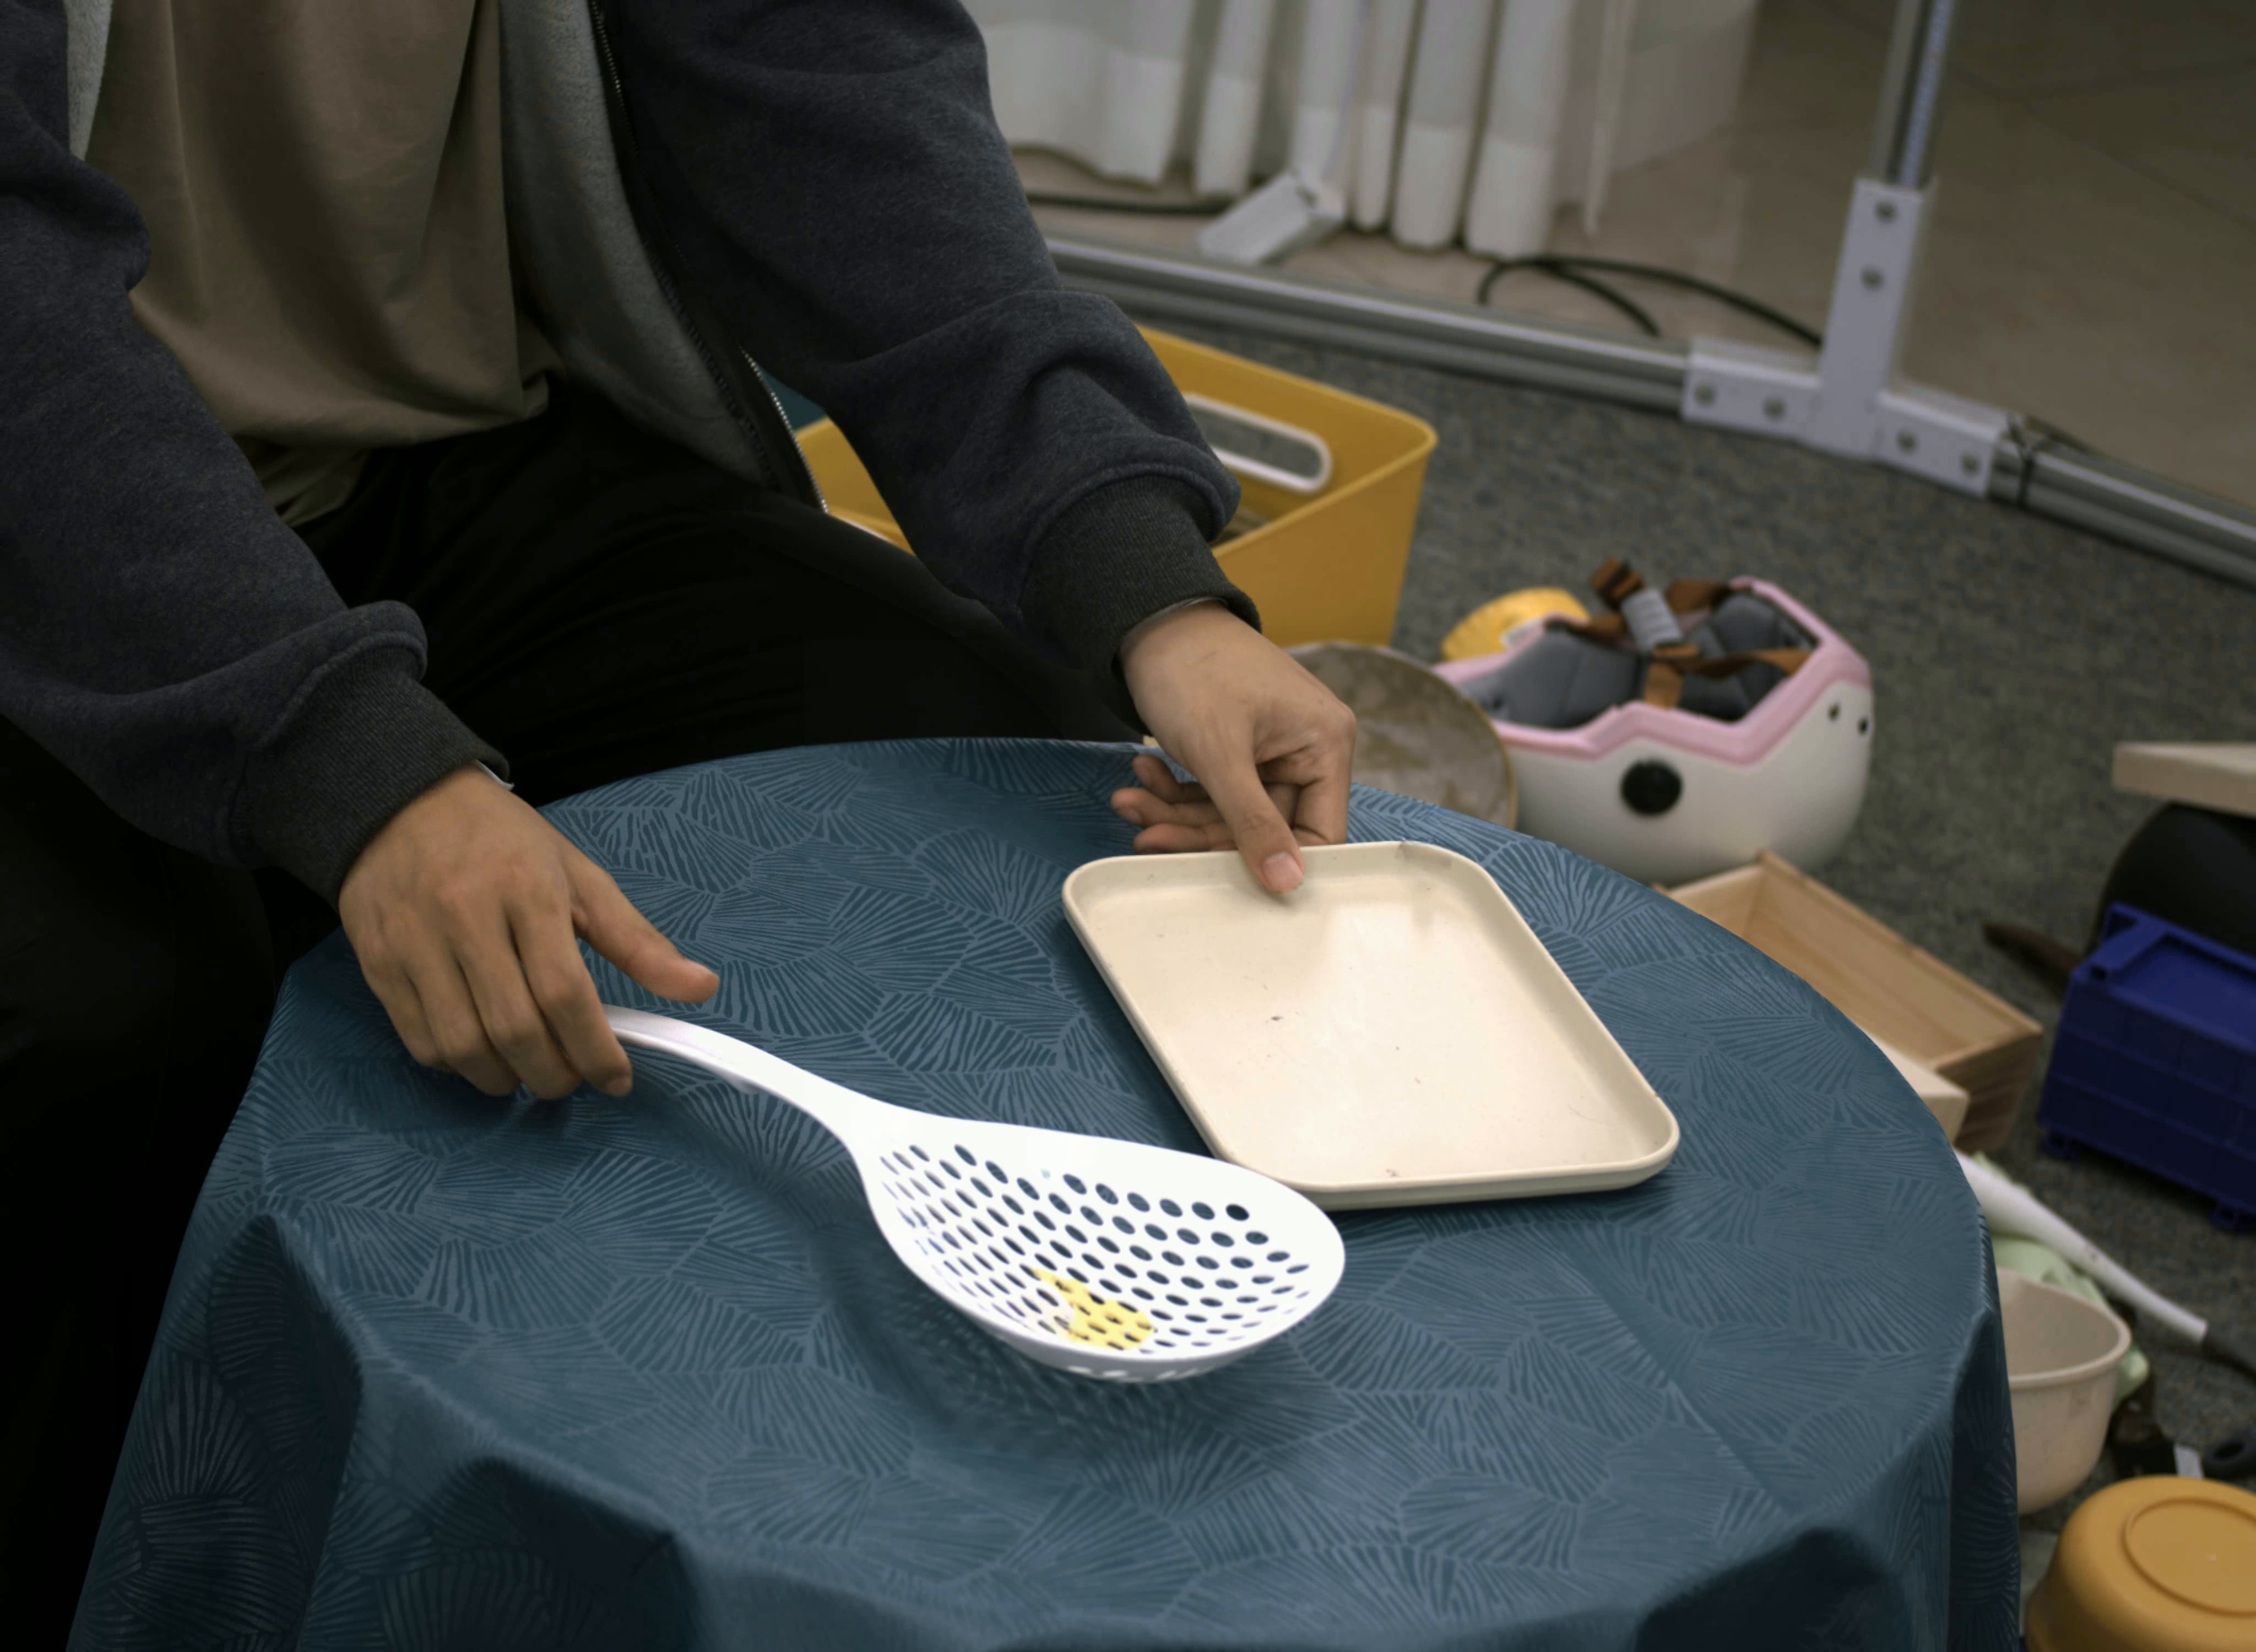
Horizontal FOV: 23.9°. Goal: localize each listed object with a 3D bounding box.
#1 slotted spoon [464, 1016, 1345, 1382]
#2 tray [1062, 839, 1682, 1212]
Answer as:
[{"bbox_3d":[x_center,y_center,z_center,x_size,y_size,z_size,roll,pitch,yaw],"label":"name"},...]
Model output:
[{"bbox_3d":[-0.086,0.109,1.764,0.350,0.050,0.136,25,34,31],"label":"slotted spoon"},{"bbox_3d":[0.083,0.070,1.906,0.170,0.017,0.242,-4,29,-18],"label":"tray"}]
